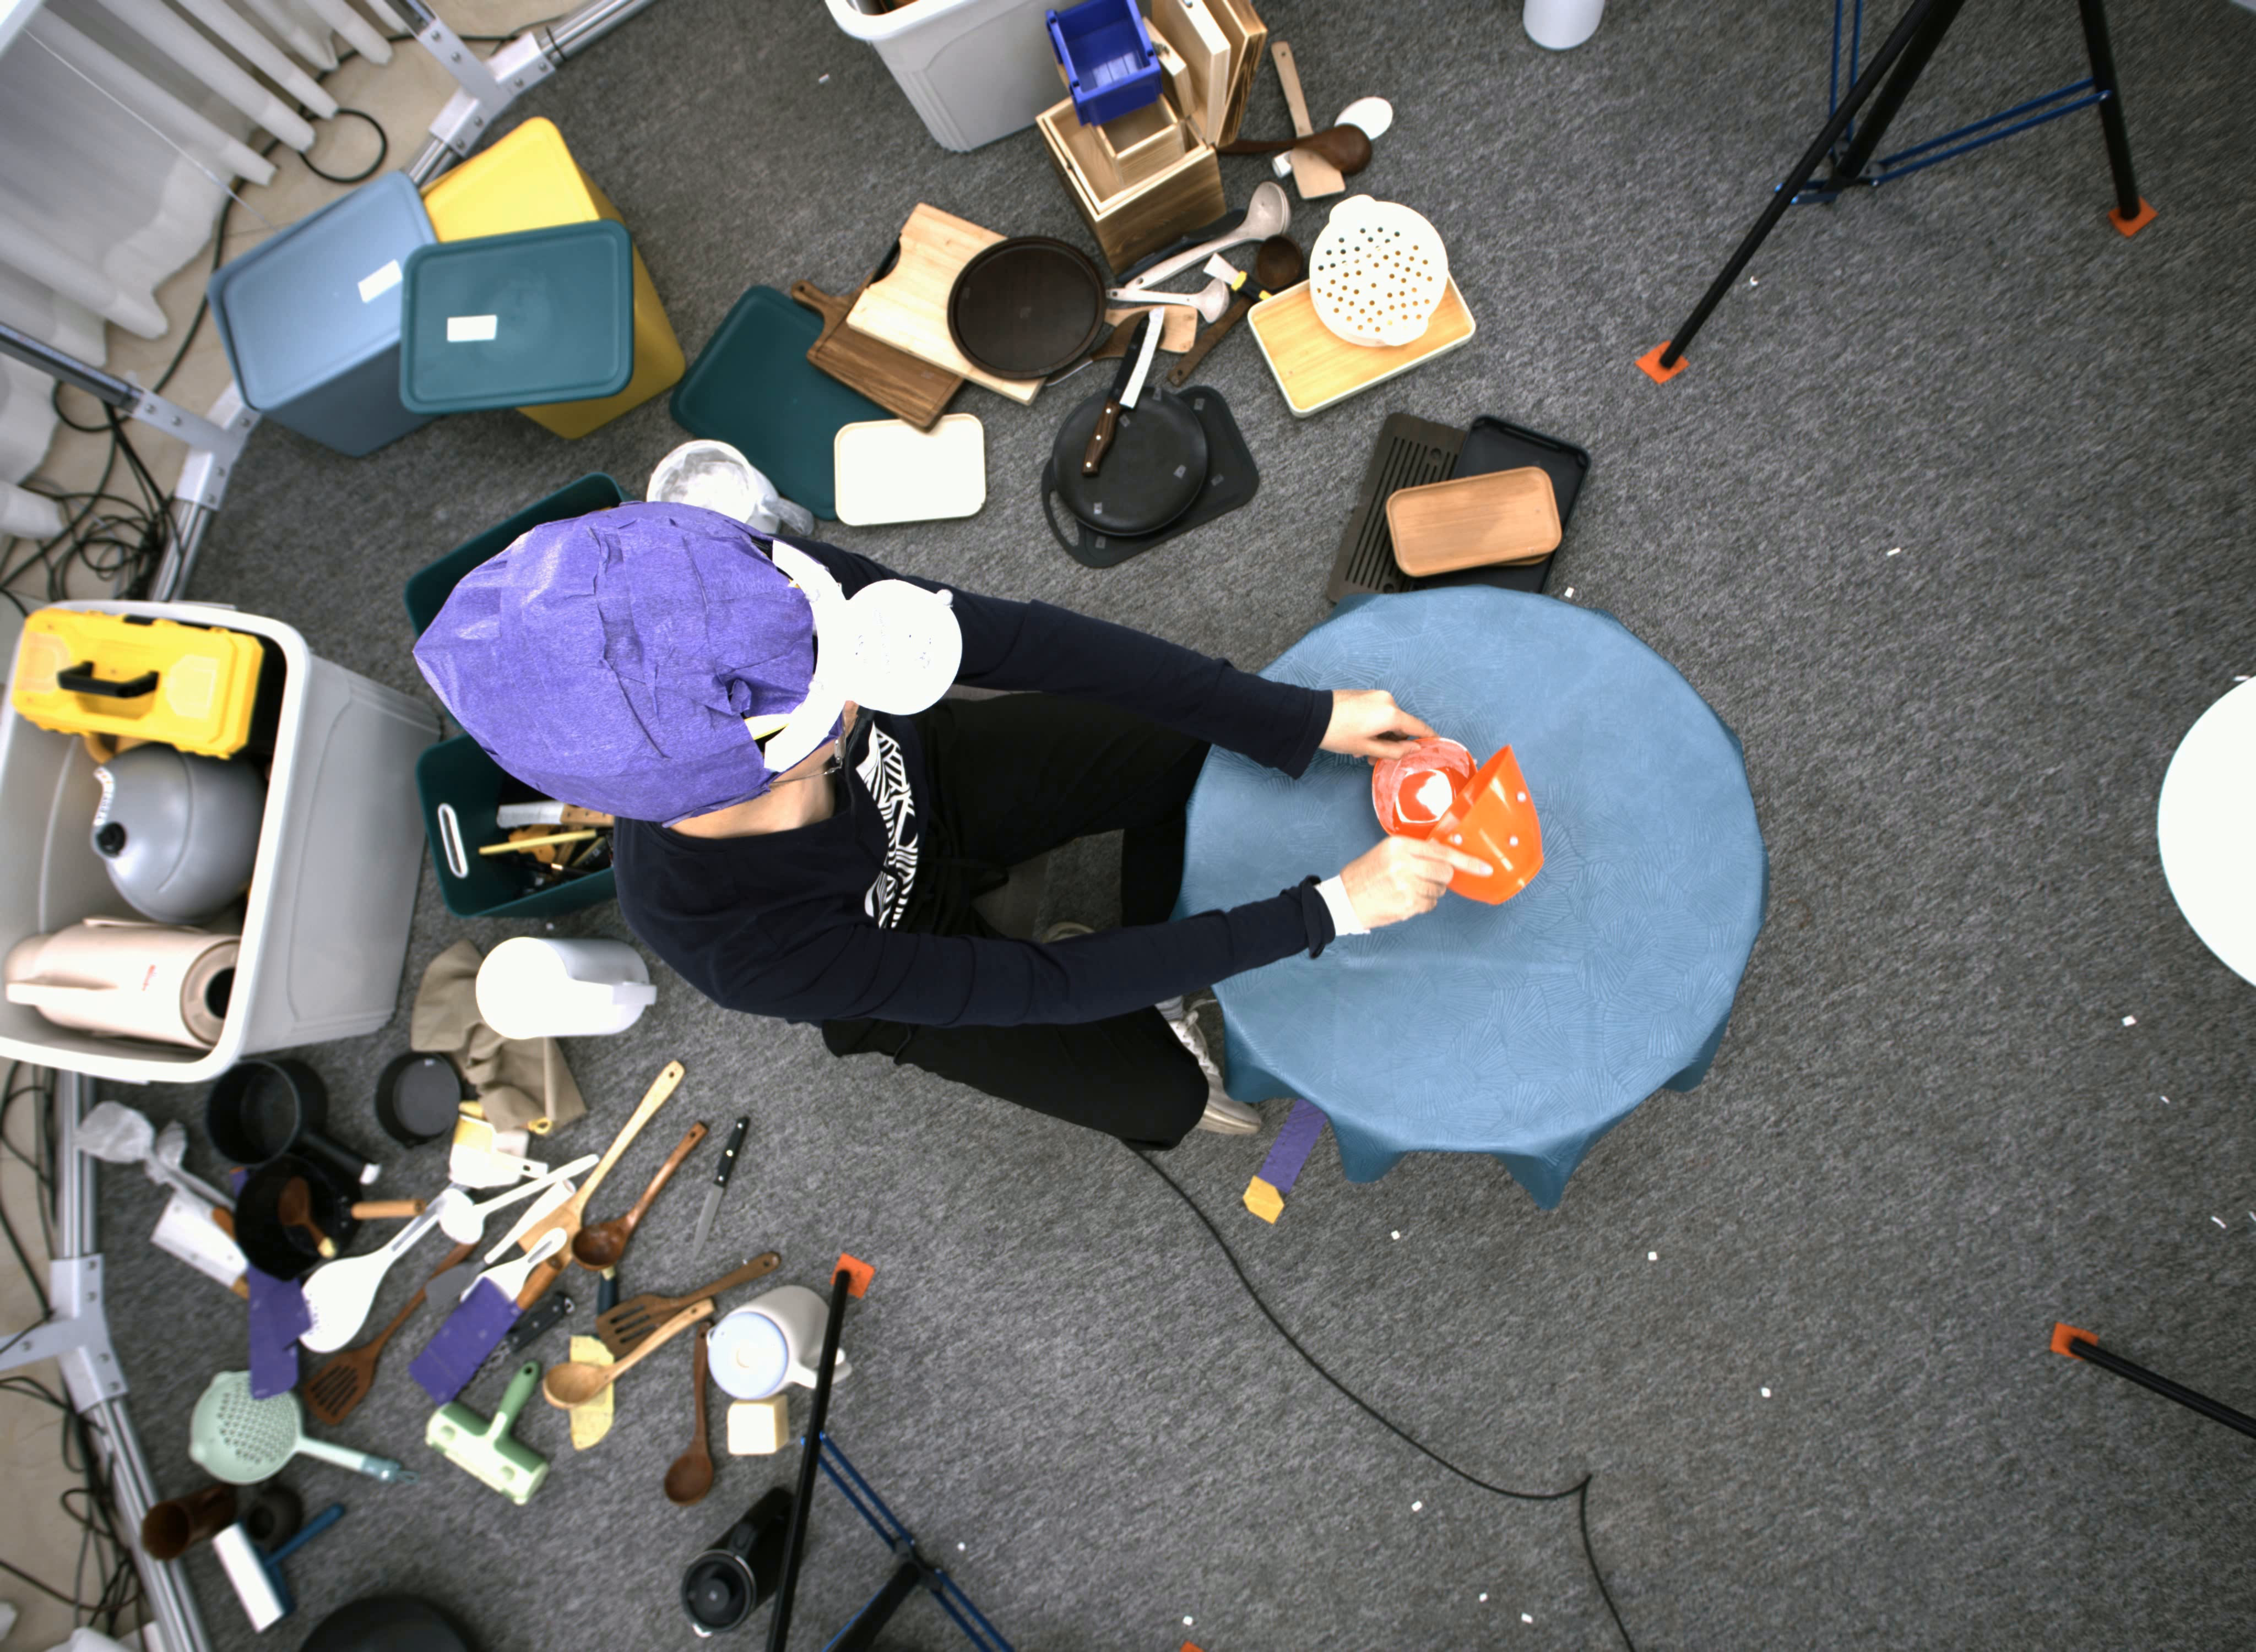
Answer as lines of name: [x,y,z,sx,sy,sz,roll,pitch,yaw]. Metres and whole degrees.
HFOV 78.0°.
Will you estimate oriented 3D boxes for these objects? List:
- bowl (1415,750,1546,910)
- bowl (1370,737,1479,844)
bowl: [0.350,0.013,1.321,0.105,0.147,0.148,44,94,-3]
bowl: [0.309,-0.036,1.434,0.119,0.051,0.118,-1,88,11]
